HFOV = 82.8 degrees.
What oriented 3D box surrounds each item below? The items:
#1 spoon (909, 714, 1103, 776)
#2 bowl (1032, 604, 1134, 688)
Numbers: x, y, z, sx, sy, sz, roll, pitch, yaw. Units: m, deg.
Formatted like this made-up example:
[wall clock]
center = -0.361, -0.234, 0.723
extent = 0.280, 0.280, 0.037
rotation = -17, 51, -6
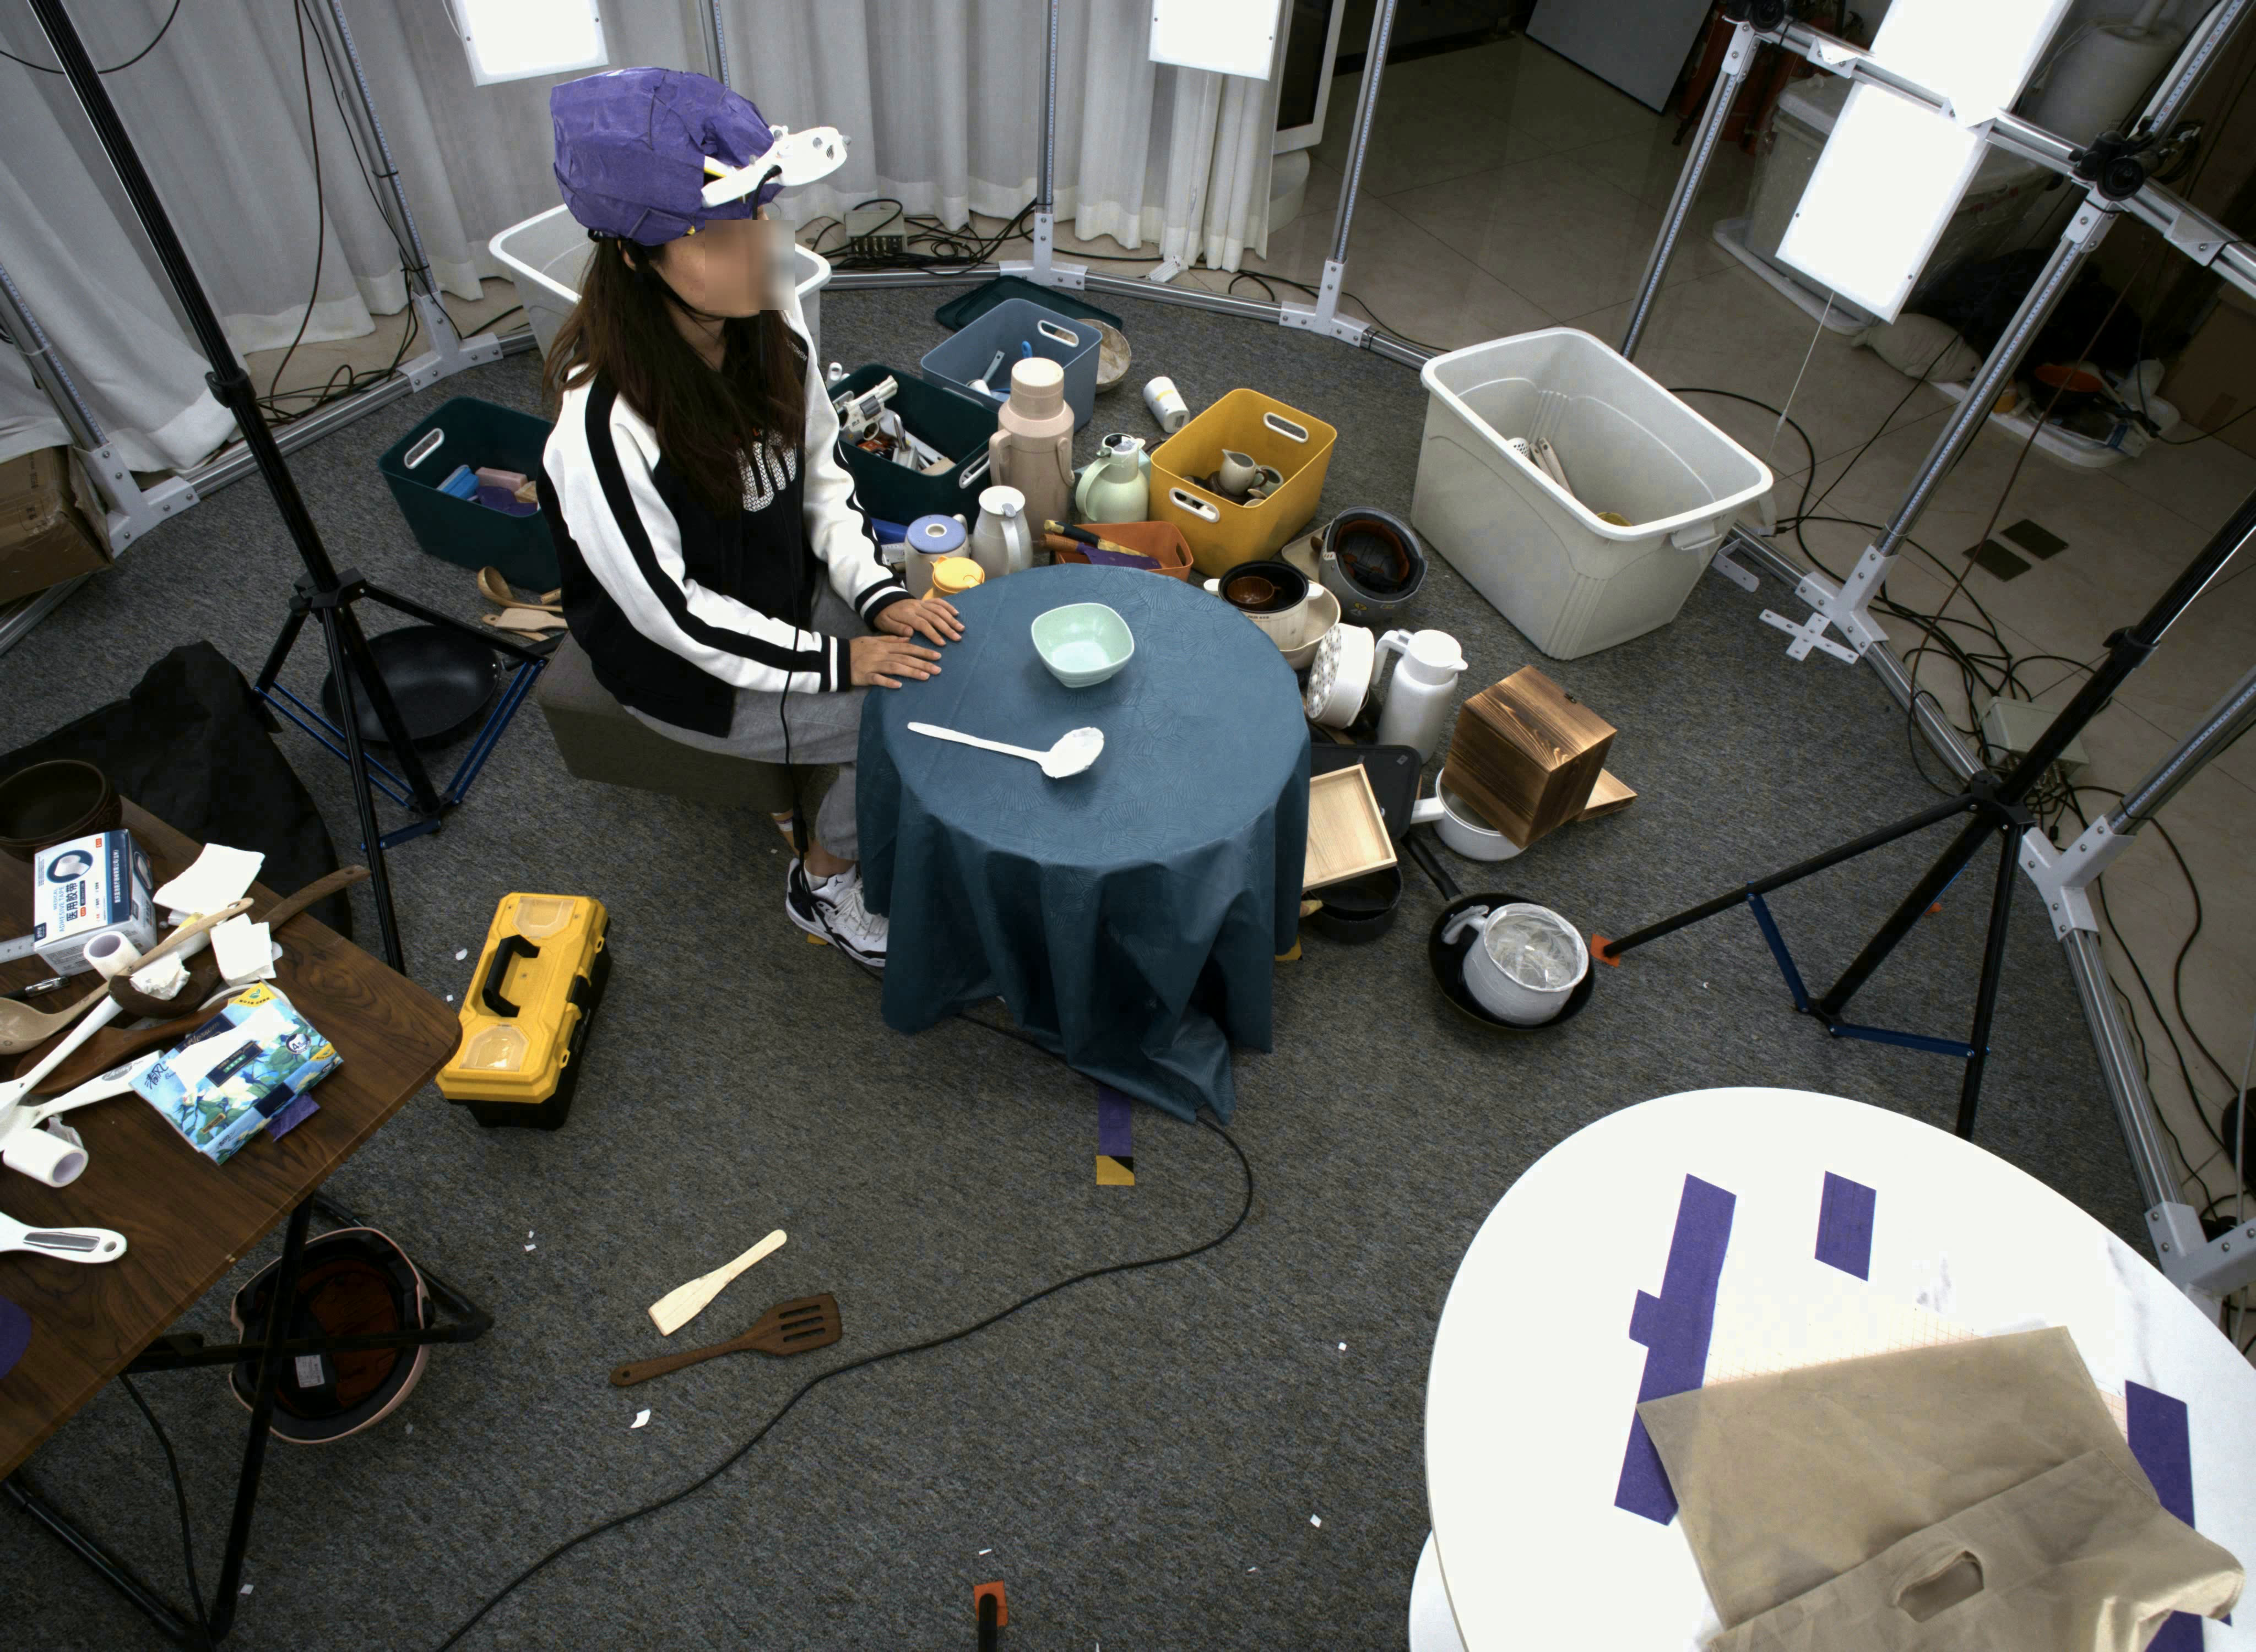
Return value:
[spoon]
center = -0.167, -0.130, 1.734
extent = 0.278, 0.058, 0.103
rotation = 17, 46, 11
[bowl]
center = -0.066, -0.250, 1.848
extent = 0.151, 0.057, 0.155
rotation = 2, 49, -3
